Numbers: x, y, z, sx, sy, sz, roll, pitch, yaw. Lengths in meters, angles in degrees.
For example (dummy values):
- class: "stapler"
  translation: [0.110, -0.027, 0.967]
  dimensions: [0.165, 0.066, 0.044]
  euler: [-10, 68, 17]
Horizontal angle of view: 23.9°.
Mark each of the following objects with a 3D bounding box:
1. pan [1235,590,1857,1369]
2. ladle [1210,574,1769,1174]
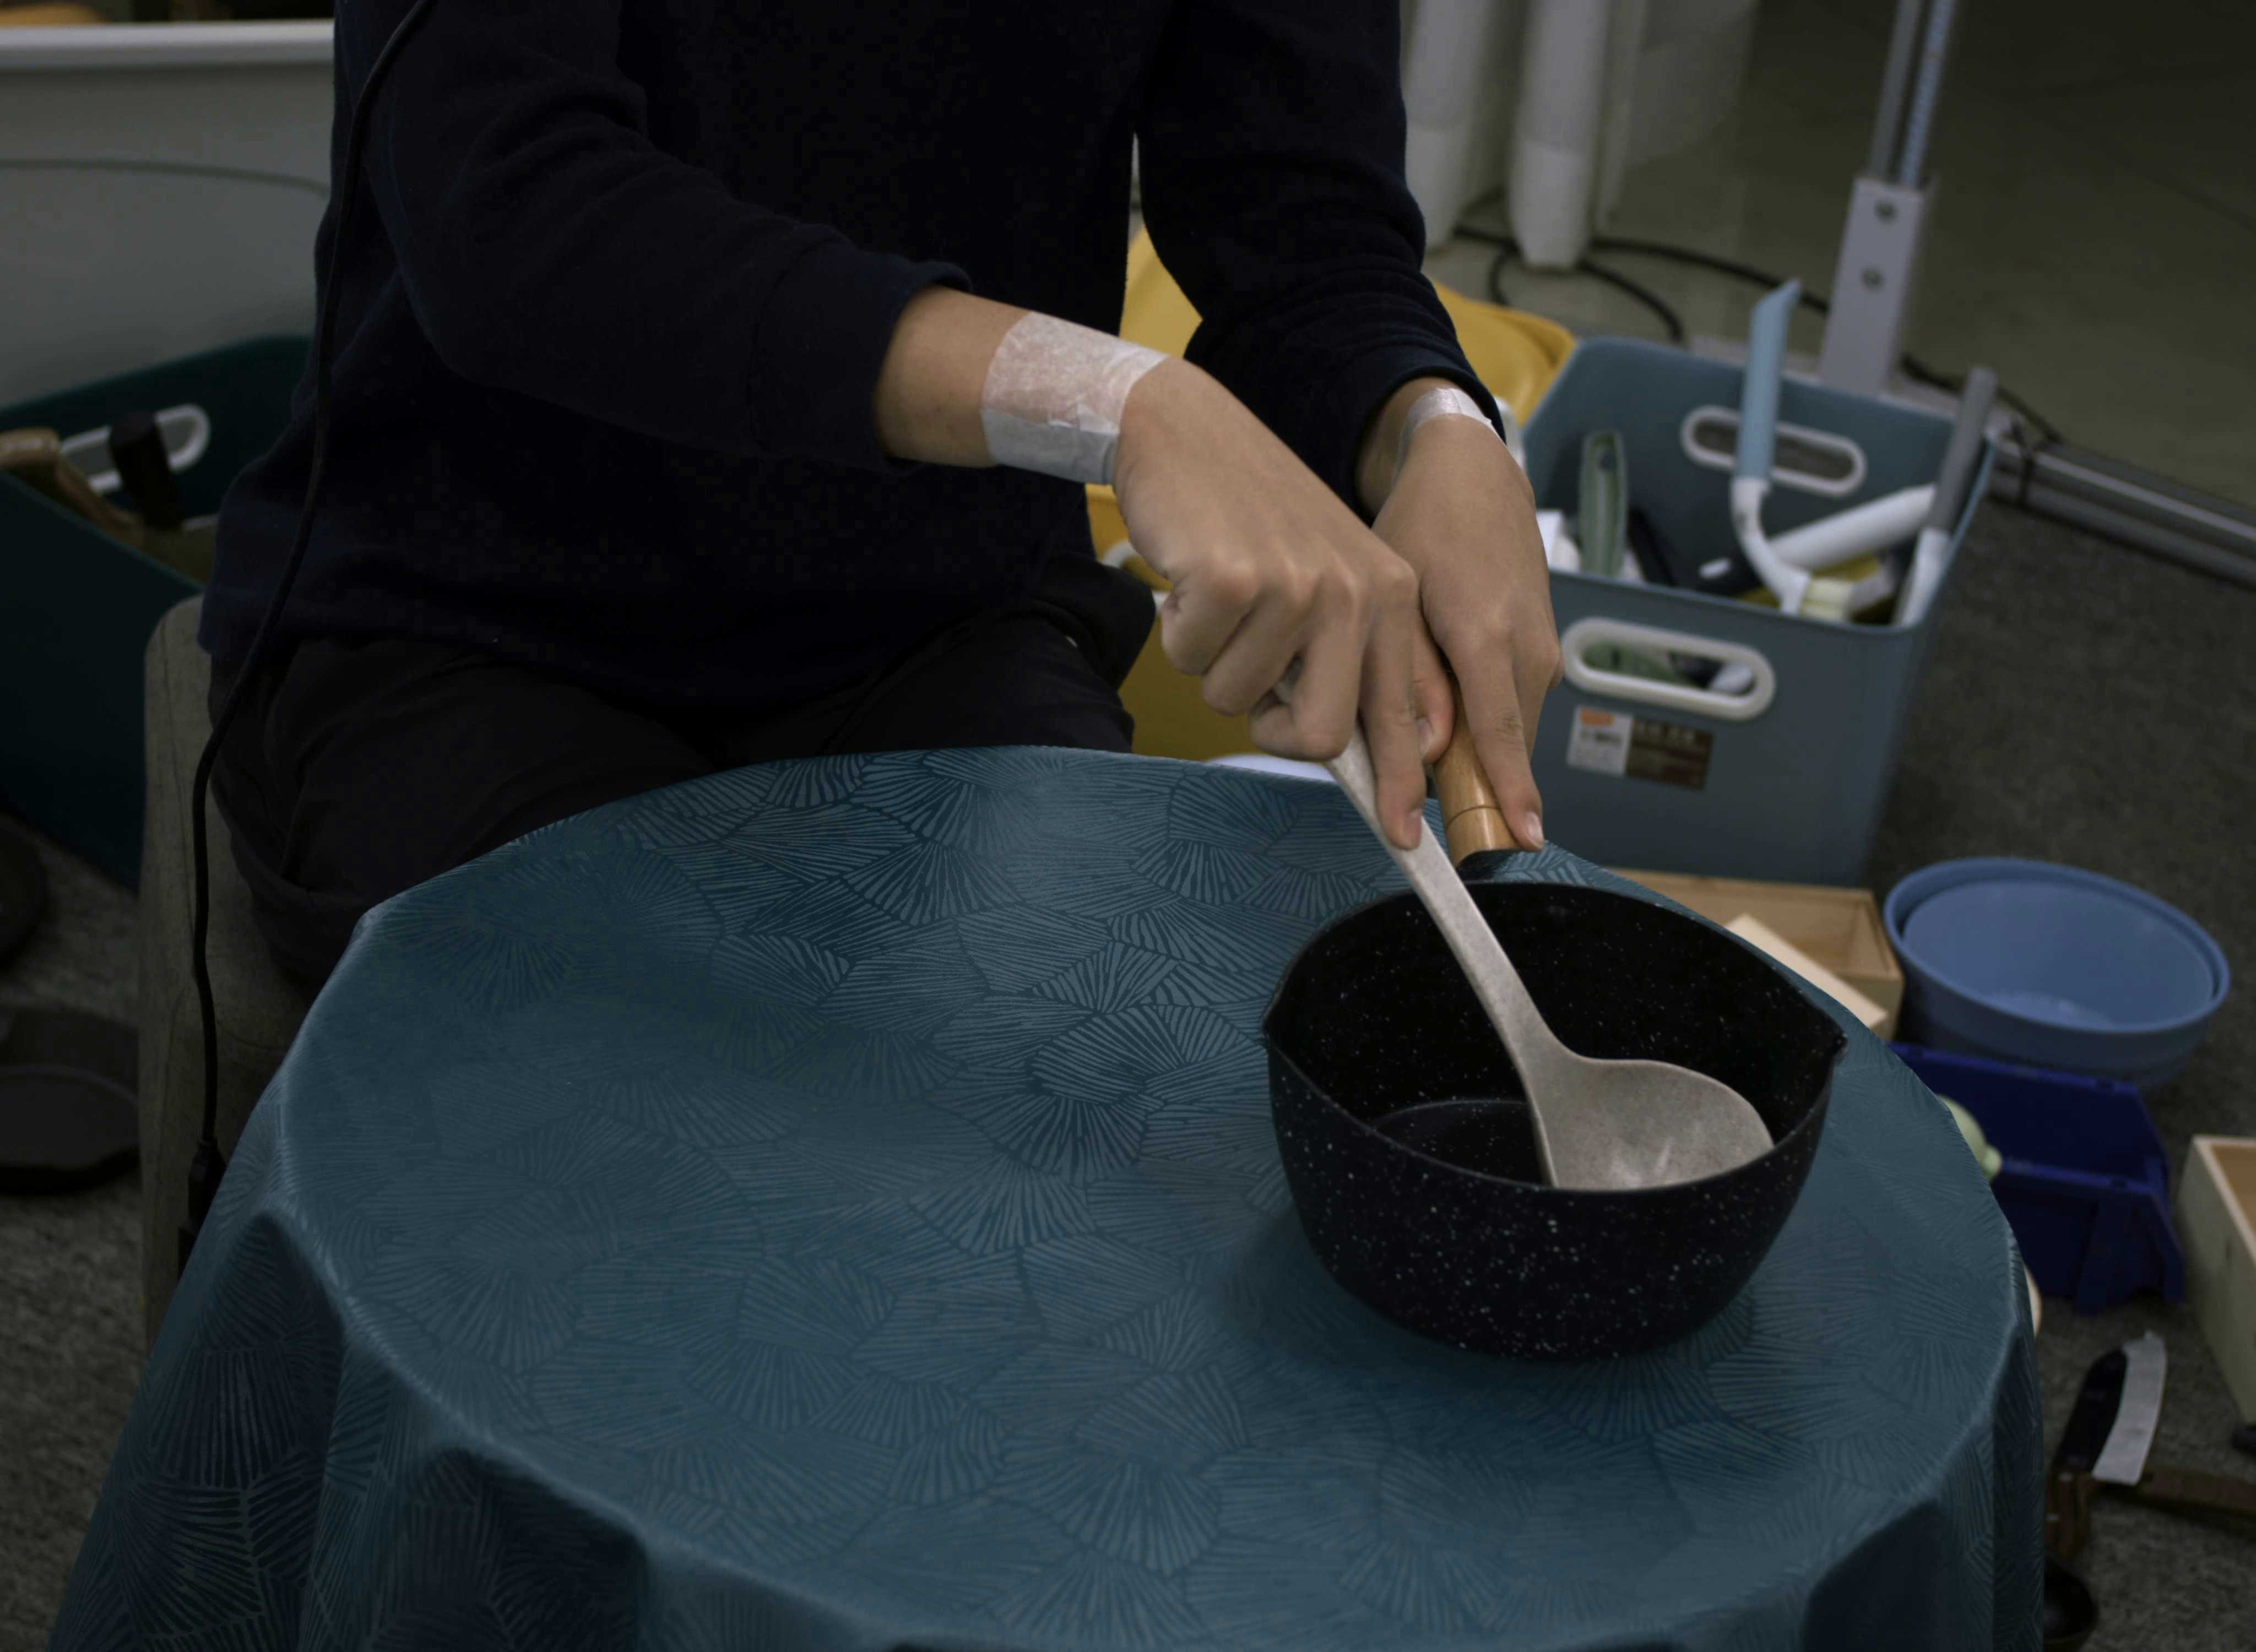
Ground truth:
- class: "pan"
  translation: [0.127, 0.050, 1.834]
  dimensions: [0.206, 0.108, 0.345]
  euler: [-1, 33, -8]
- class: "ladle"
  translation: [0.121, 0.024, 1.748]
  dimensions: [0.069, 0.273, 0.089]
  euler: [-13, 27, 44]
